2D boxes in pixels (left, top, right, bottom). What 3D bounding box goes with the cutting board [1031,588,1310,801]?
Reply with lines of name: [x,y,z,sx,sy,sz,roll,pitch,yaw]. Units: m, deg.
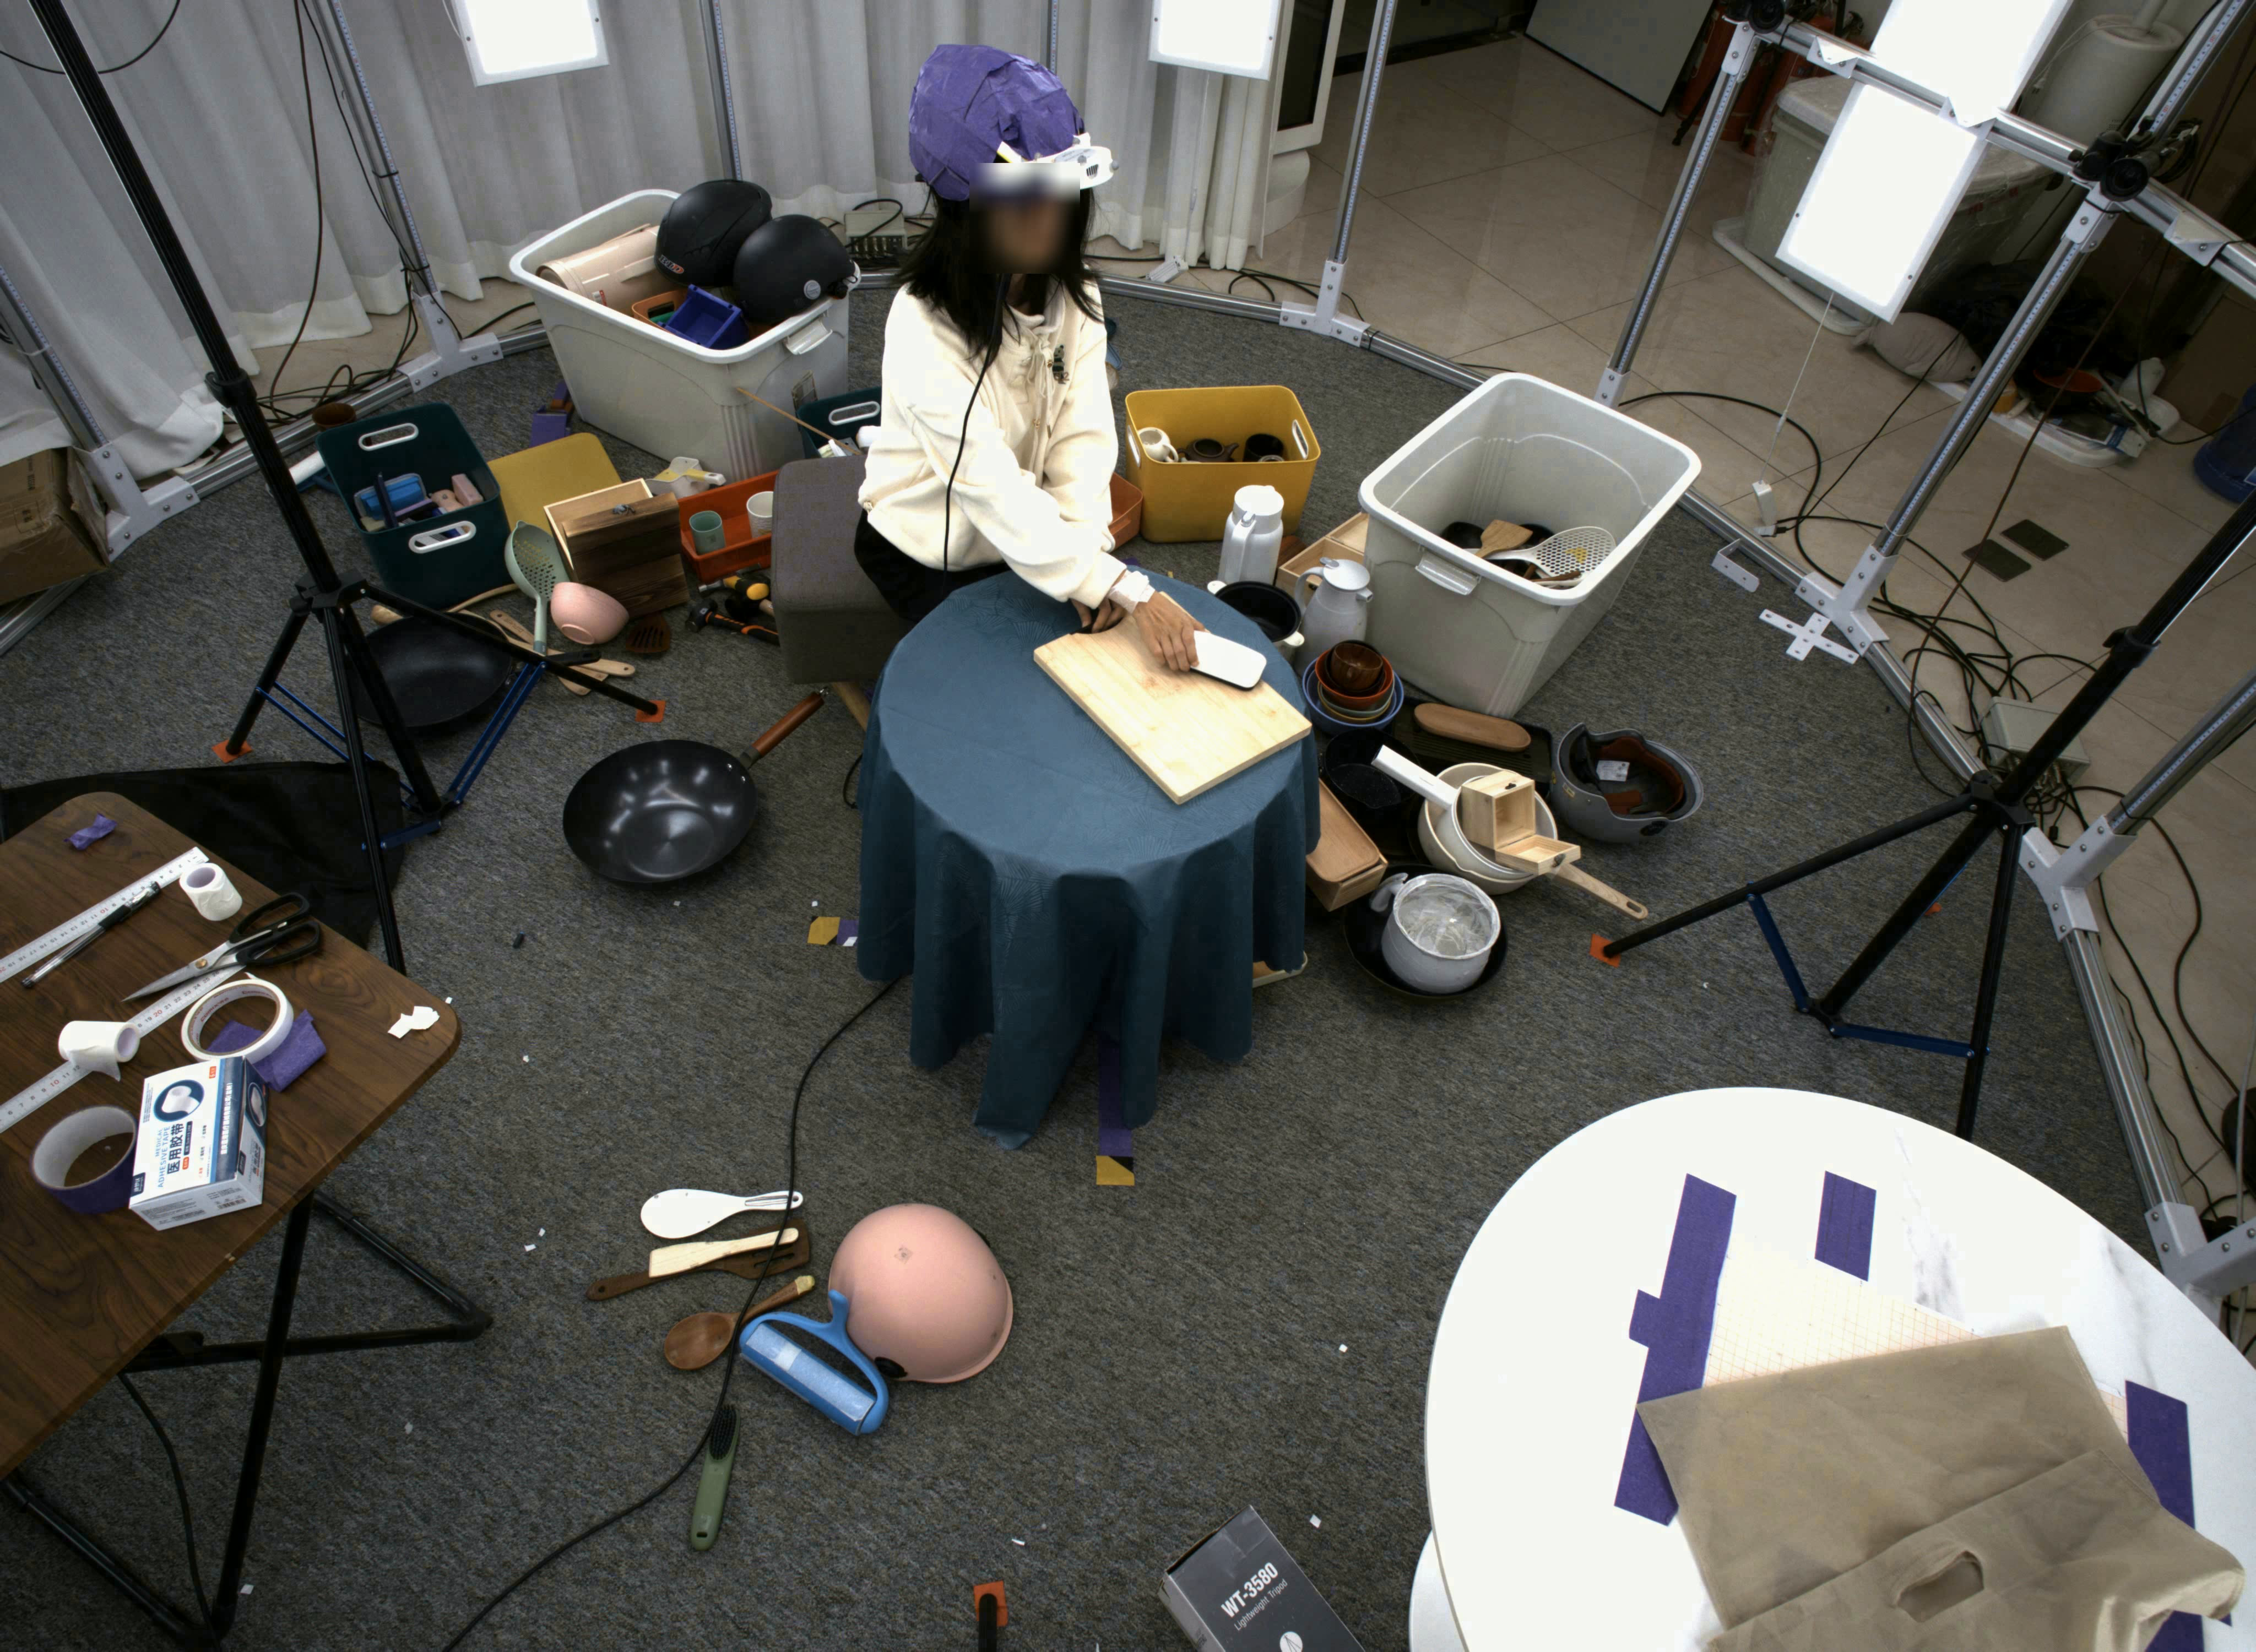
cutting board: [0.056,-0.196,1.834,0.252,0.023,0.355,-29,57,-26]

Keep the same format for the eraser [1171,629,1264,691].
eraser: [0.128,-0.241,1.845,0.132,0.034,0.064,24,52,15]
